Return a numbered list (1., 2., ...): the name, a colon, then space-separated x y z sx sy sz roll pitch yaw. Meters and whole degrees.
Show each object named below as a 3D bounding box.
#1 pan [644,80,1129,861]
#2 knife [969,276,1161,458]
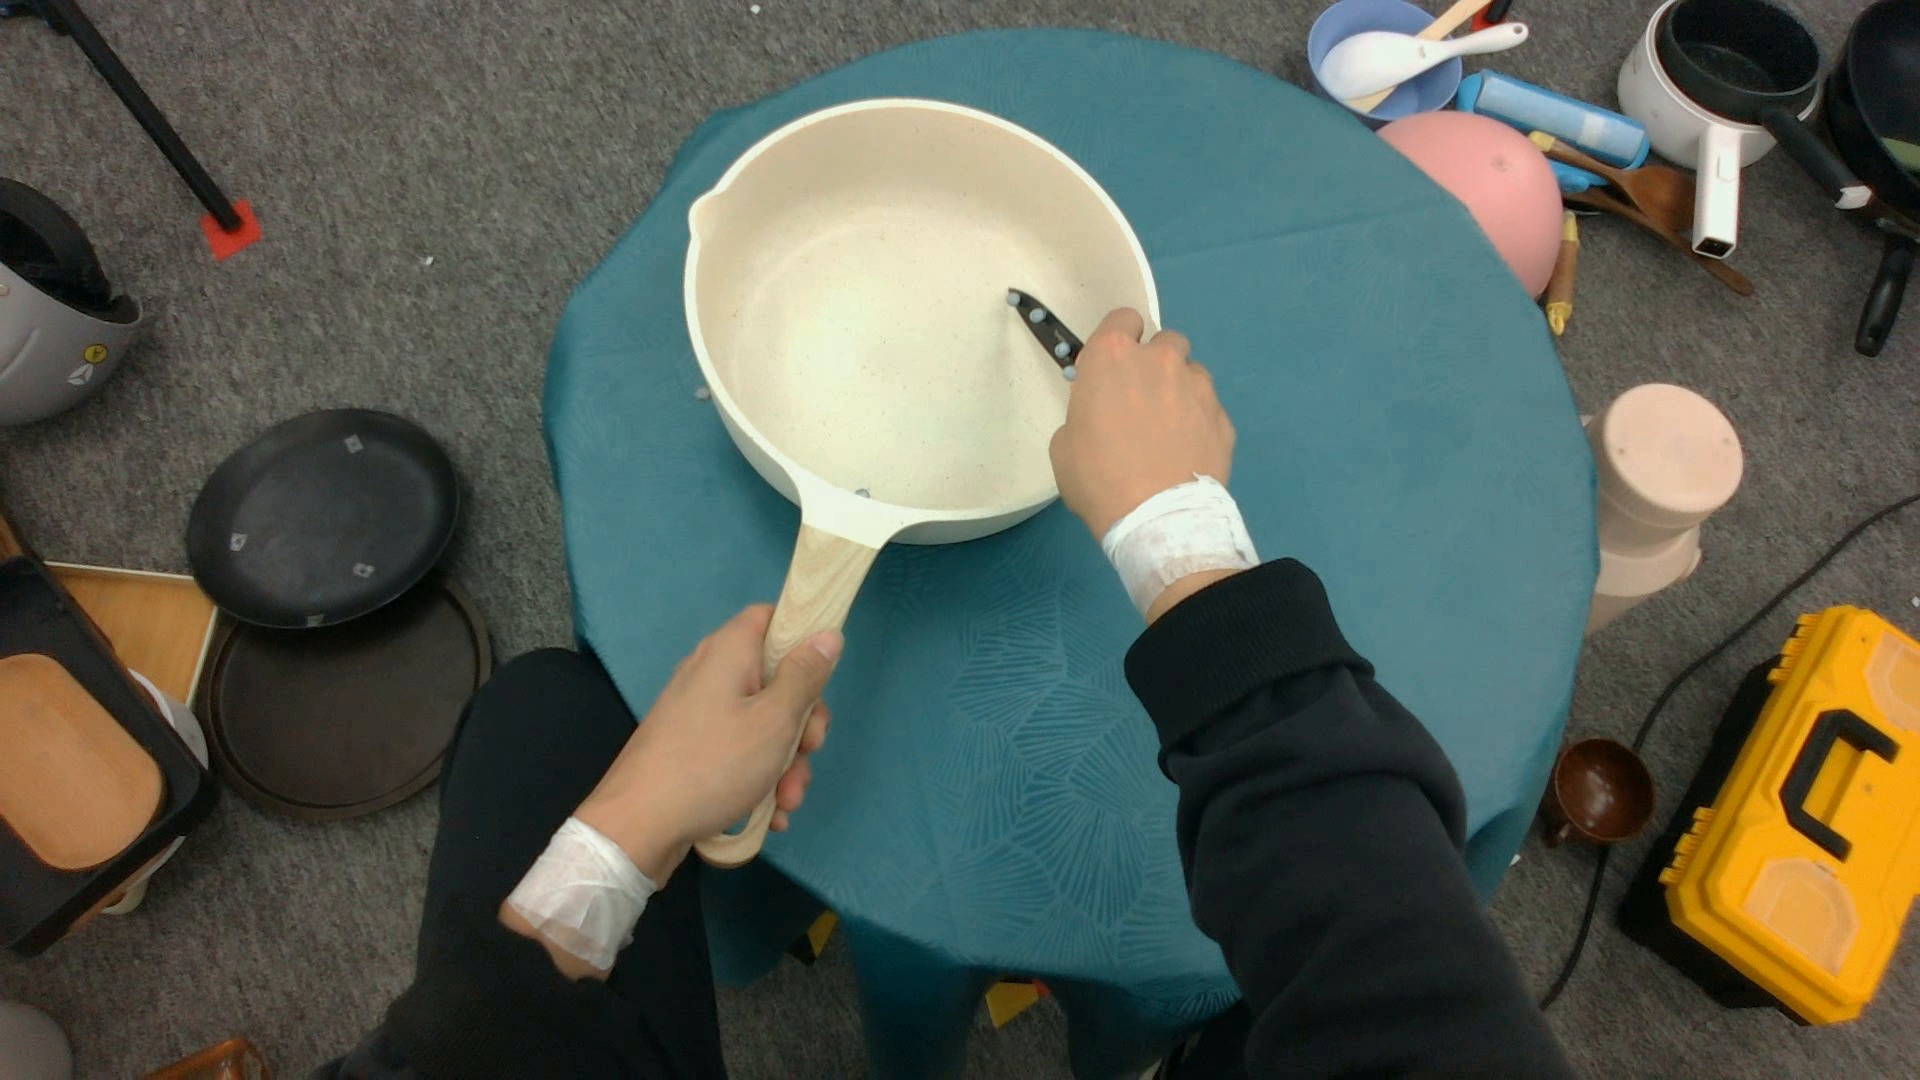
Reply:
1. pan: -0.067 -0.043 0.709 0.263 0.101 0.436 19 66 -6
2. knife: 0.048 -0.102 0.735 0.017 0.026 0.226 -5 34 -23
